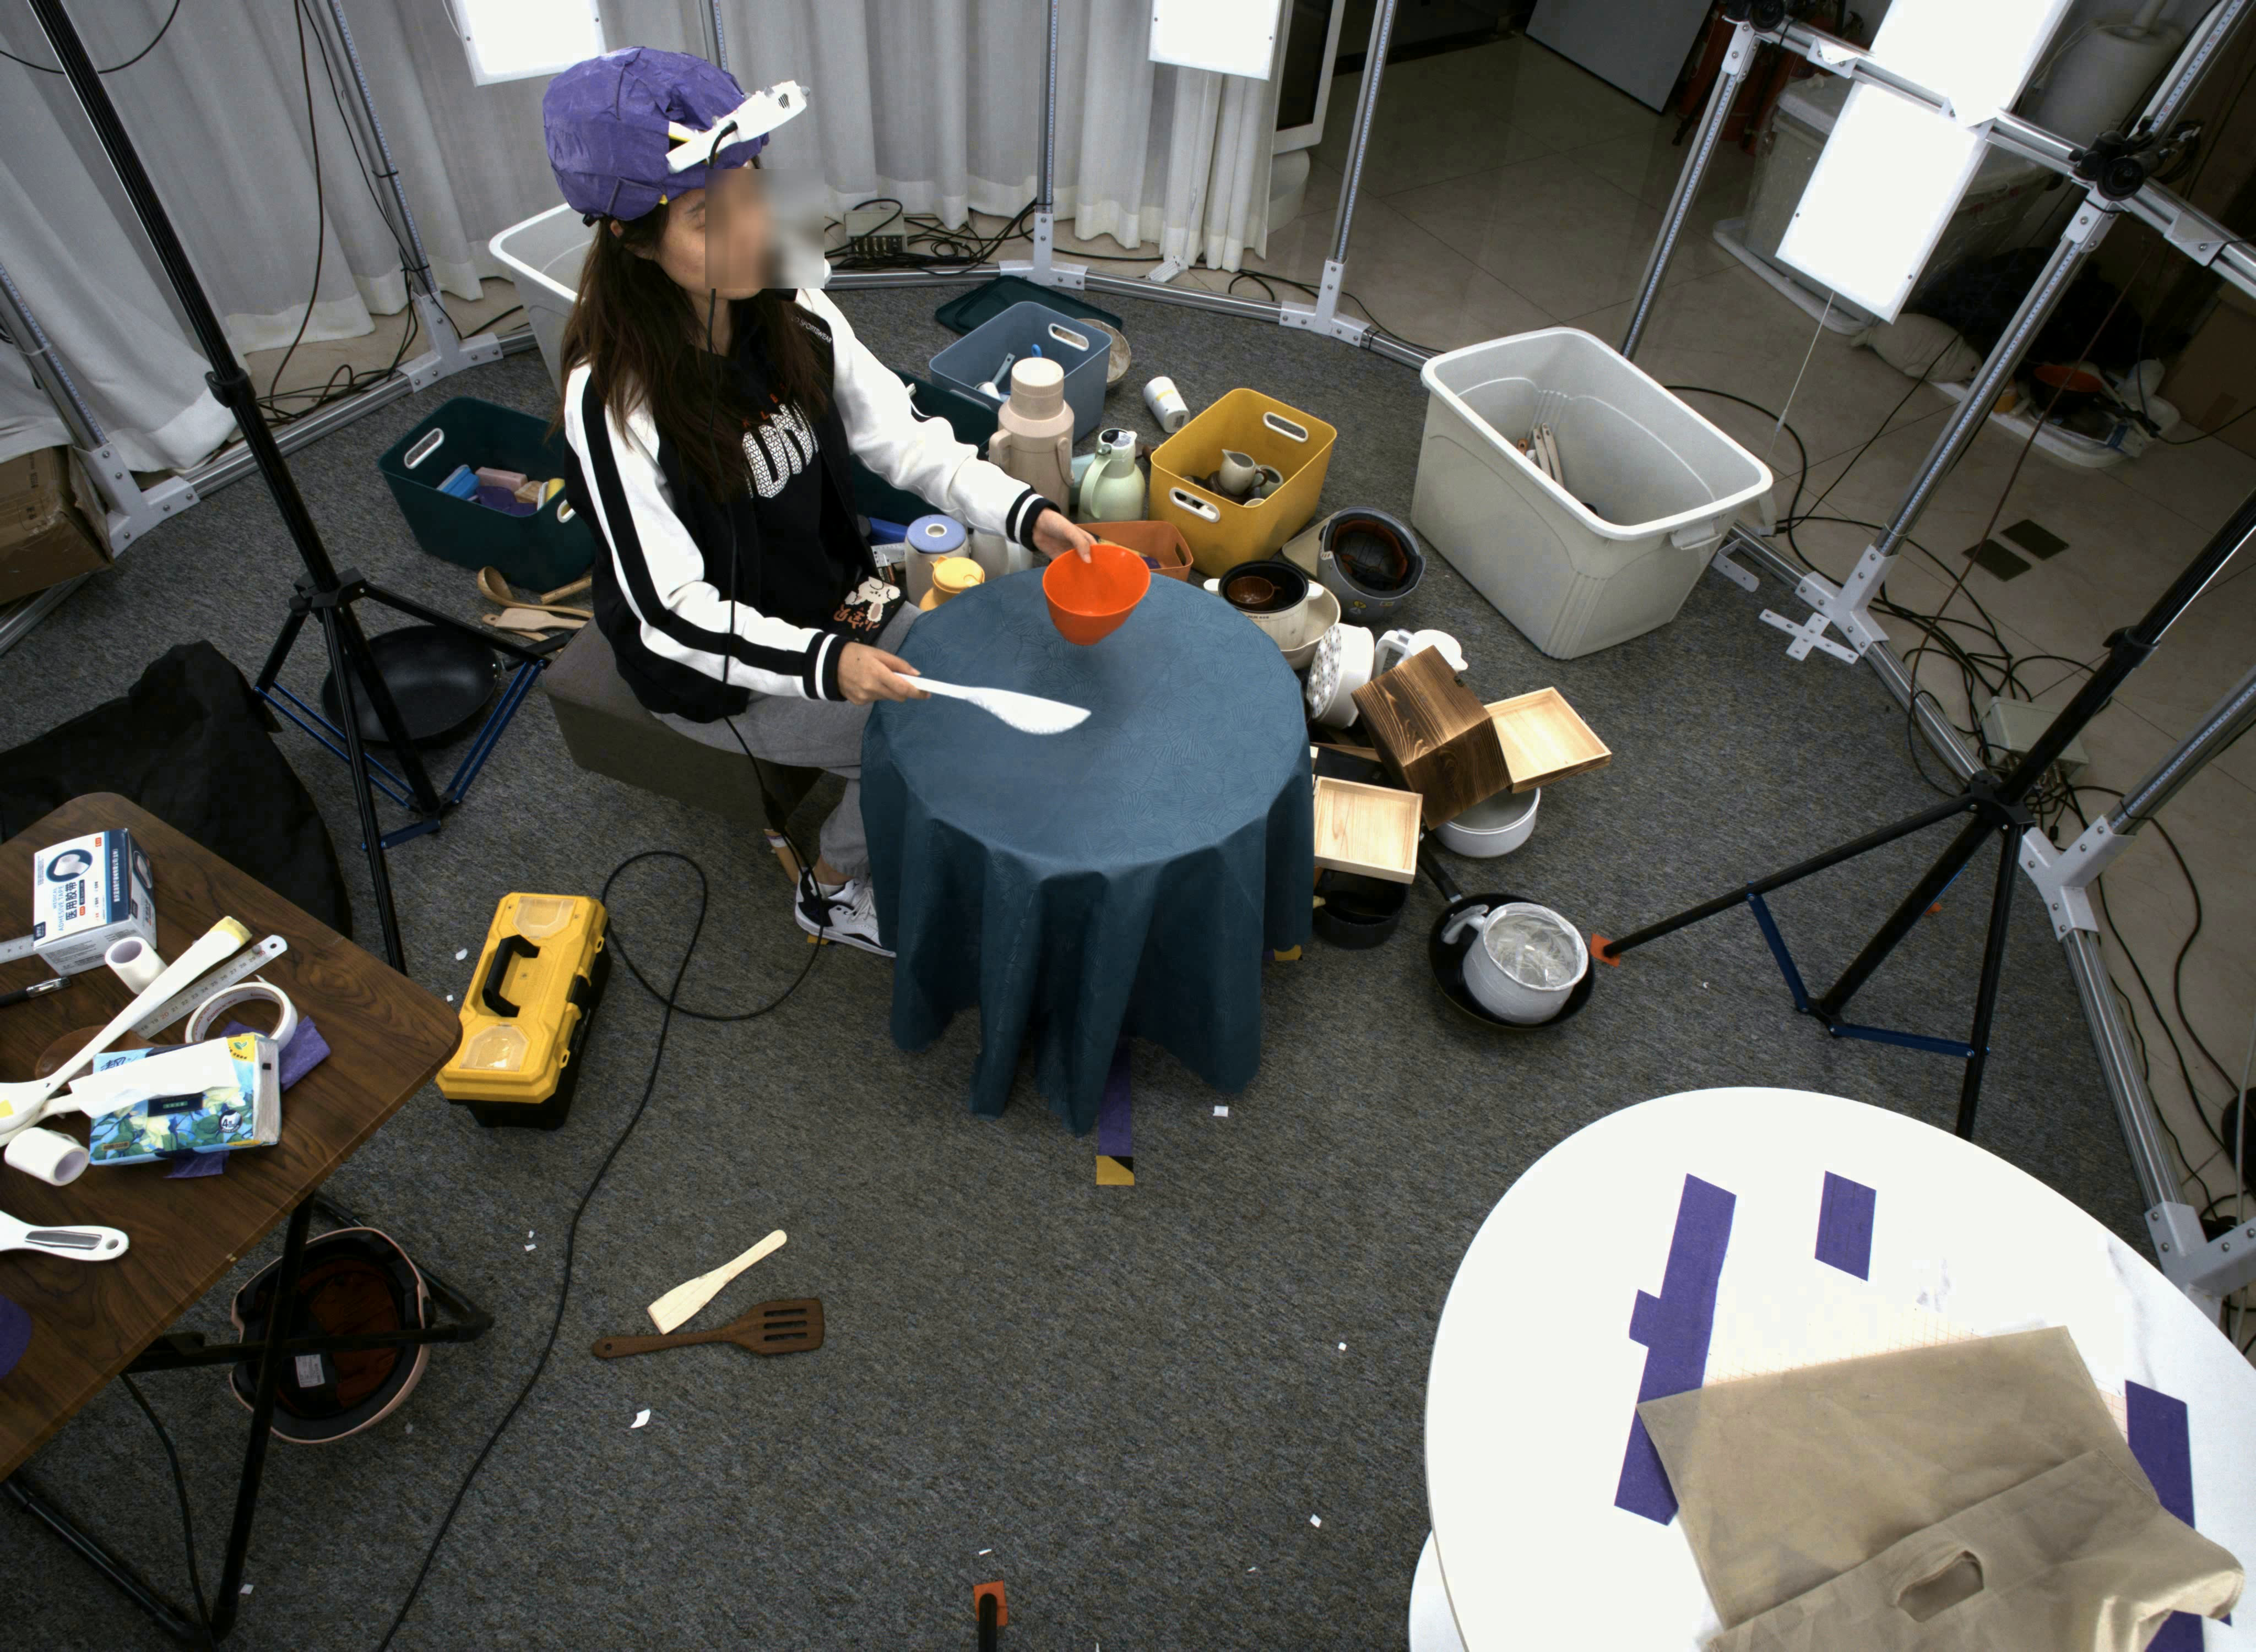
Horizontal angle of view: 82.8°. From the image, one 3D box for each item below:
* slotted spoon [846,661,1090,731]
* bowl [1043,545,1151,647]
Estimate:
[{"bbox_3d":[-0.208,-0.169,1.594,0.353,0.045,0.135,19,5,27],"label":"slotted spoon"},{"bbox_3d":[-0.047,-0.313,1.802,0.148,0.102,0.152,4,49,-5],"label":"bowl"}]
